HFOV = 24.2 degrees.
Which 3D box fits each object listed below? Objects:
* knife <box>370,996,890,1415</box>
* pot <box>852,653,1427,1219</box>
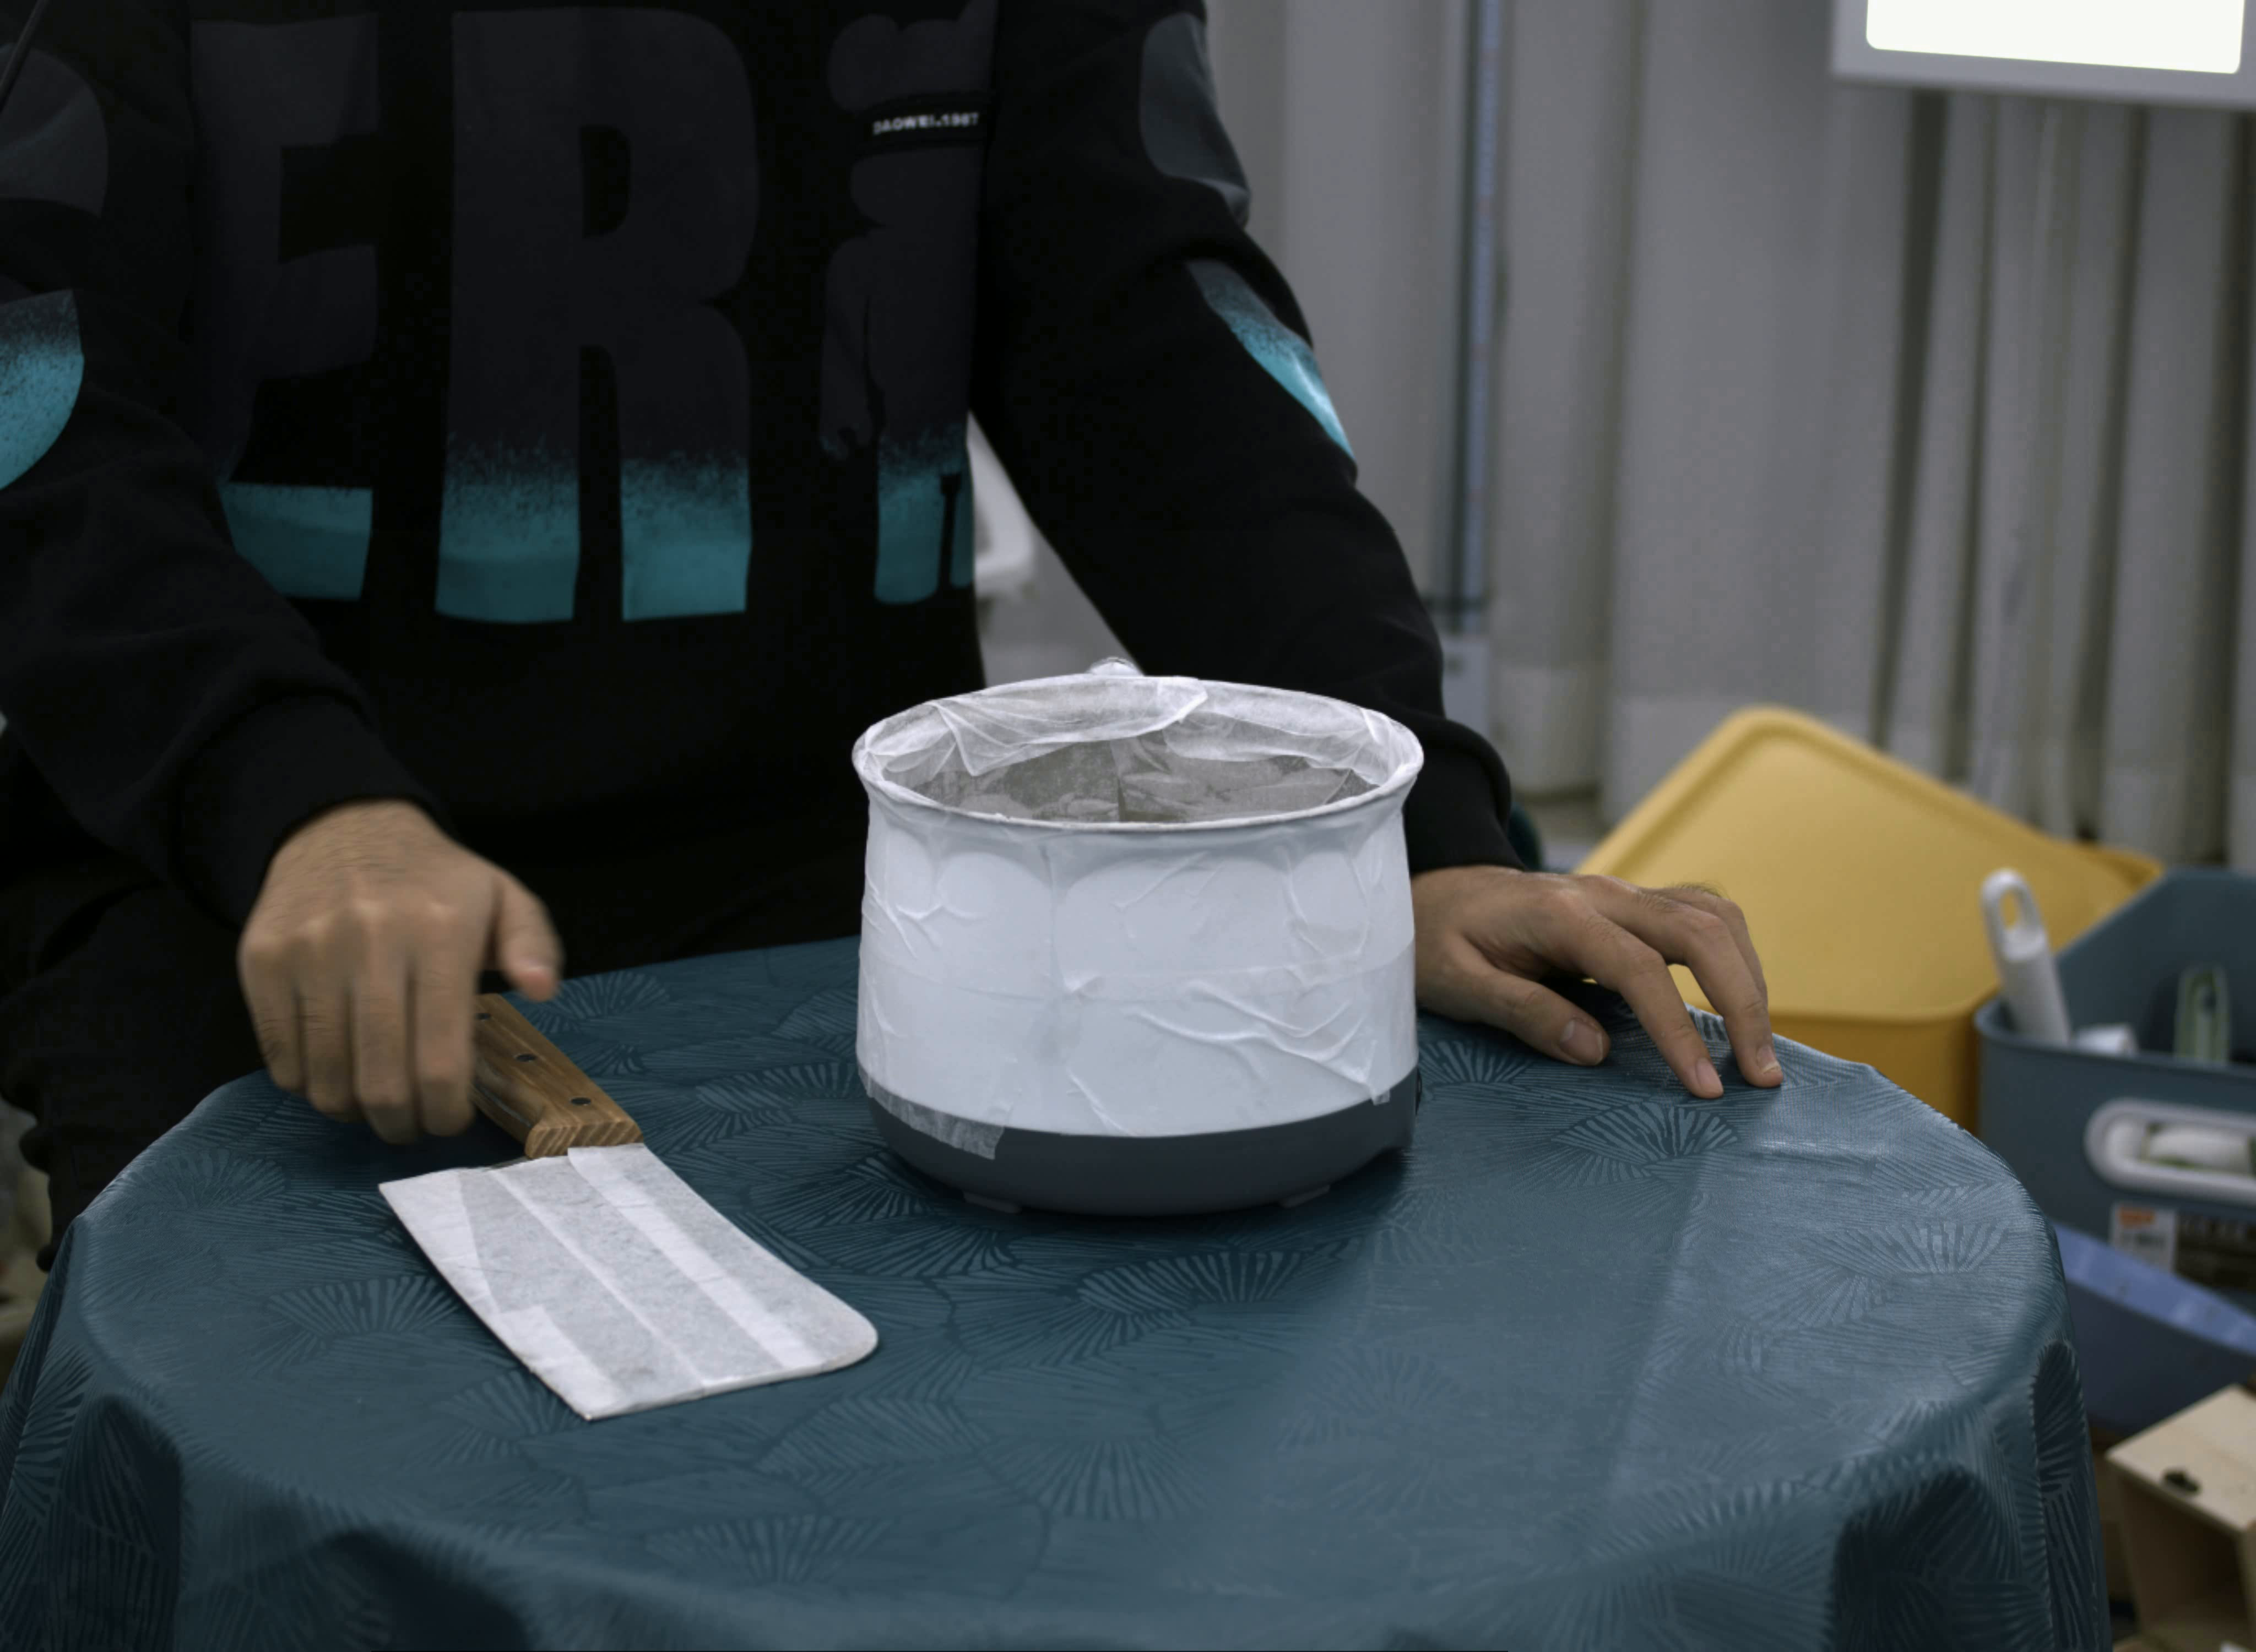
[{"bbox_3d":[-0.167,0.111,1.588,0.114,0.022,0.311,-6,20,-22],"label":"knife"},{"bbox_3d":[0.000,0.029,1.664,0.178,0.138,0.232,-1,17,-6],"label":"pot"}]
